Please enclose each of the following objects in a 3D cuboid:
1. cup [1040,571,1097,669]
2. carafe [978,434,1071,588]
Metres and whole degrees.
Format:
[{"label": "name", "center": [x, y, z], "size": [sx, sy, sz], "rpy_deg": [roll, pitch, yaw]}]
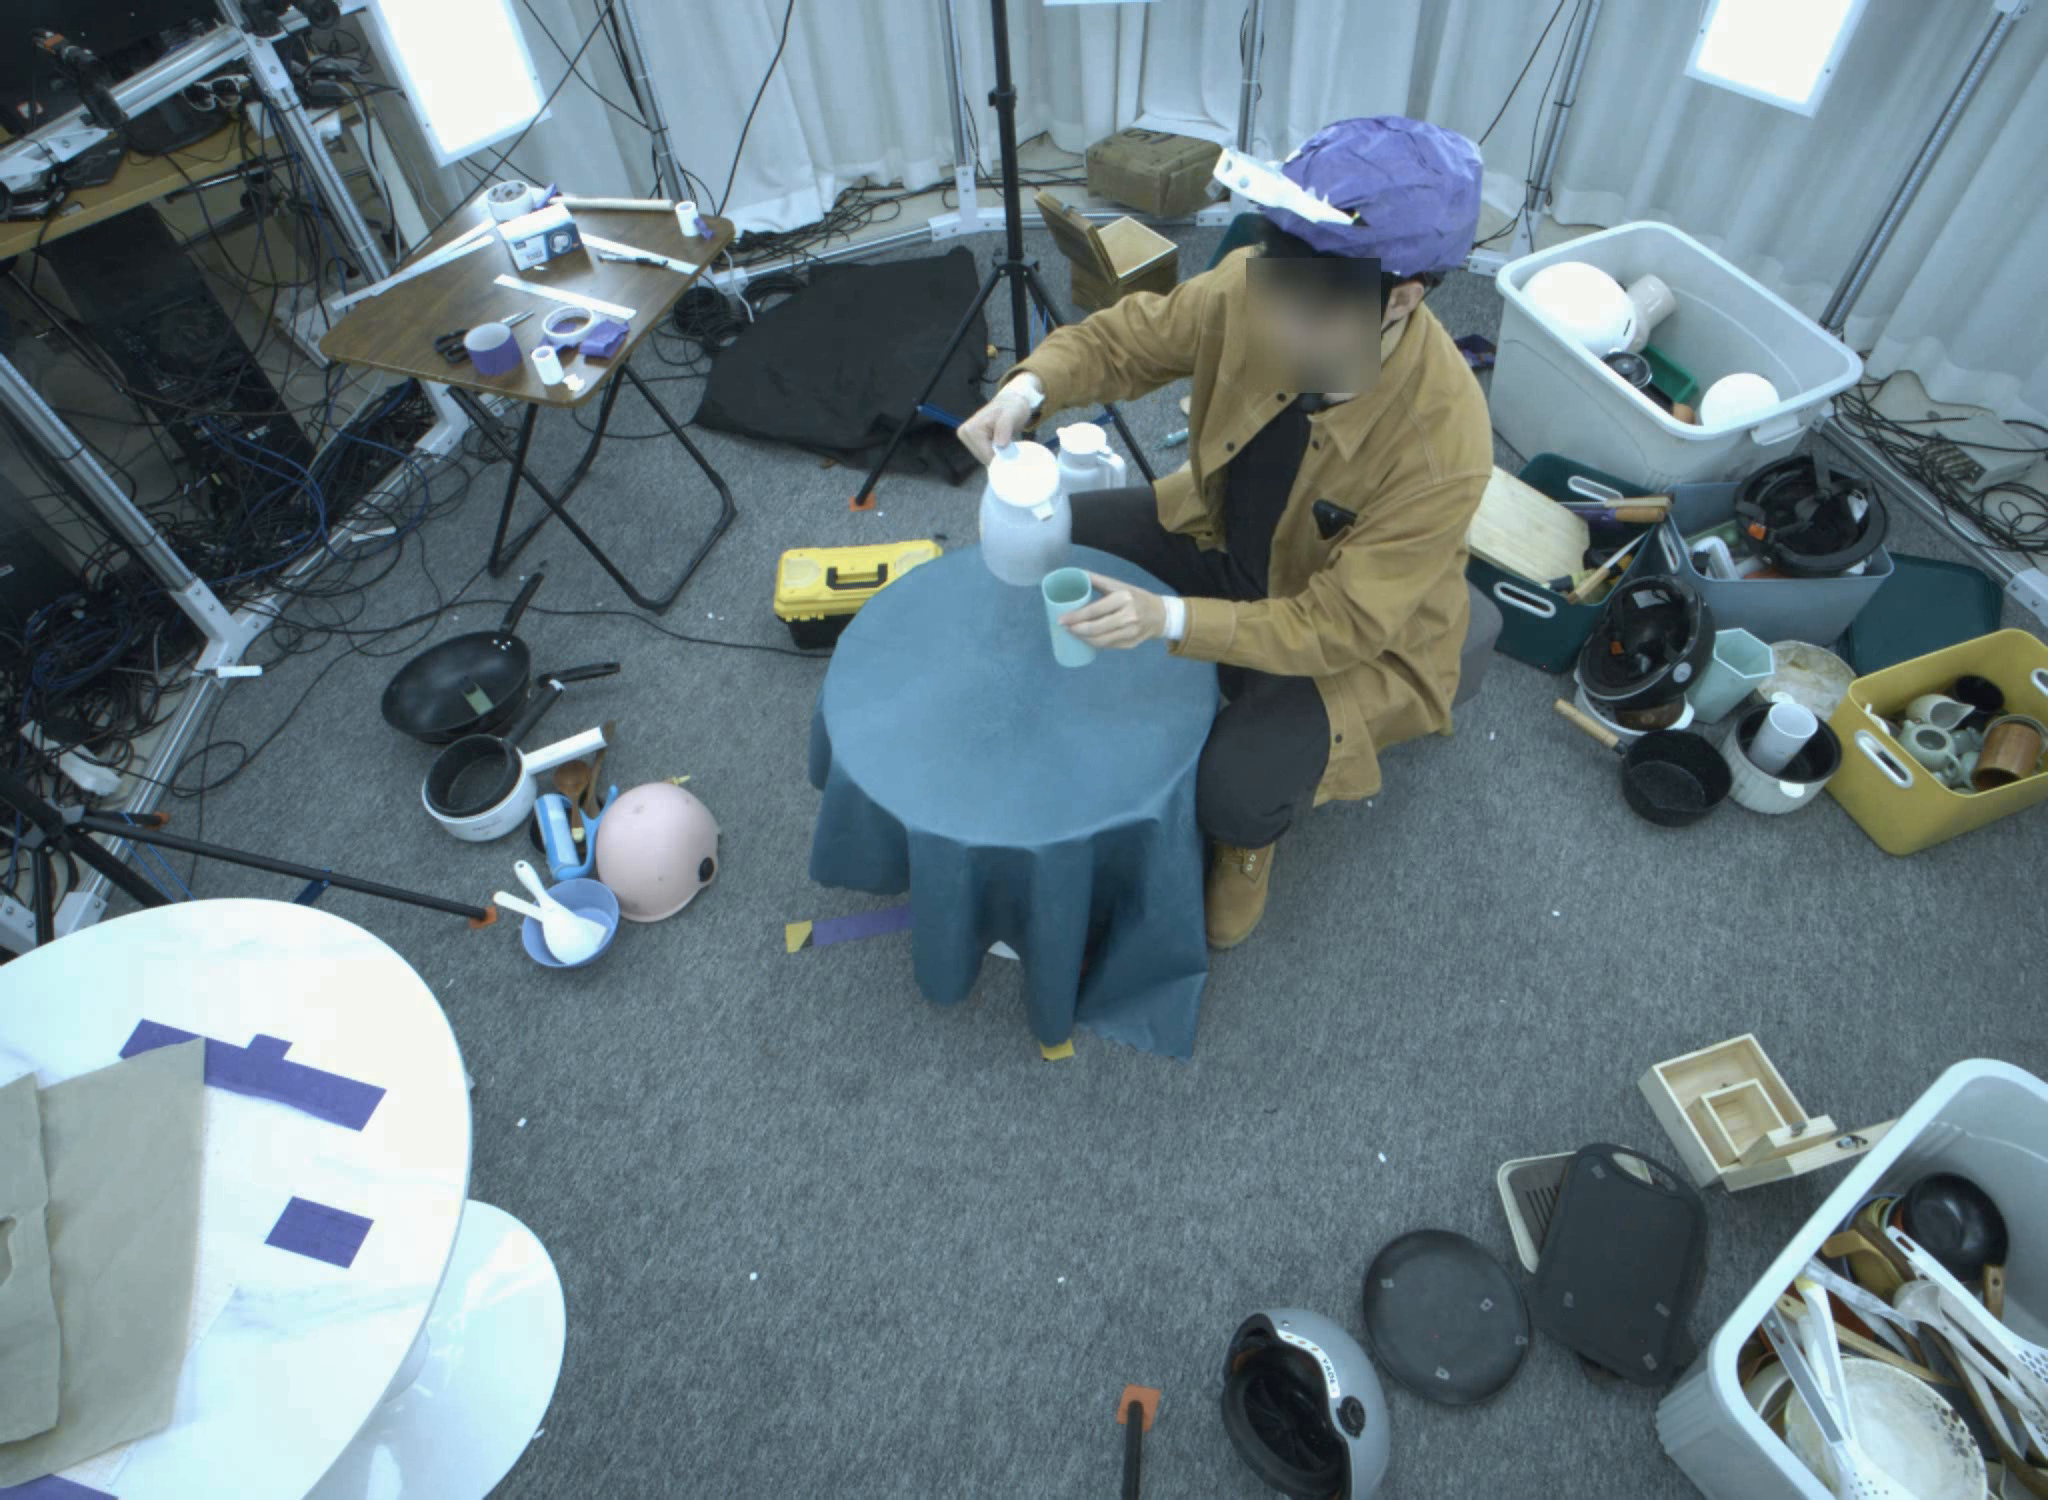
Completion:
[{"label": "cup", "center": [0.062, -0.174, 1.647], "size": [0.066, 0.134, 0.066], "rpy_deg": [-4, 56, 7]}, {"label": "carafe", "center": [-0.011, -0.342, 1.675], "size": [0.133, 0.250, 0.166], "rpy_deg": [-30, 78, -6]}]
